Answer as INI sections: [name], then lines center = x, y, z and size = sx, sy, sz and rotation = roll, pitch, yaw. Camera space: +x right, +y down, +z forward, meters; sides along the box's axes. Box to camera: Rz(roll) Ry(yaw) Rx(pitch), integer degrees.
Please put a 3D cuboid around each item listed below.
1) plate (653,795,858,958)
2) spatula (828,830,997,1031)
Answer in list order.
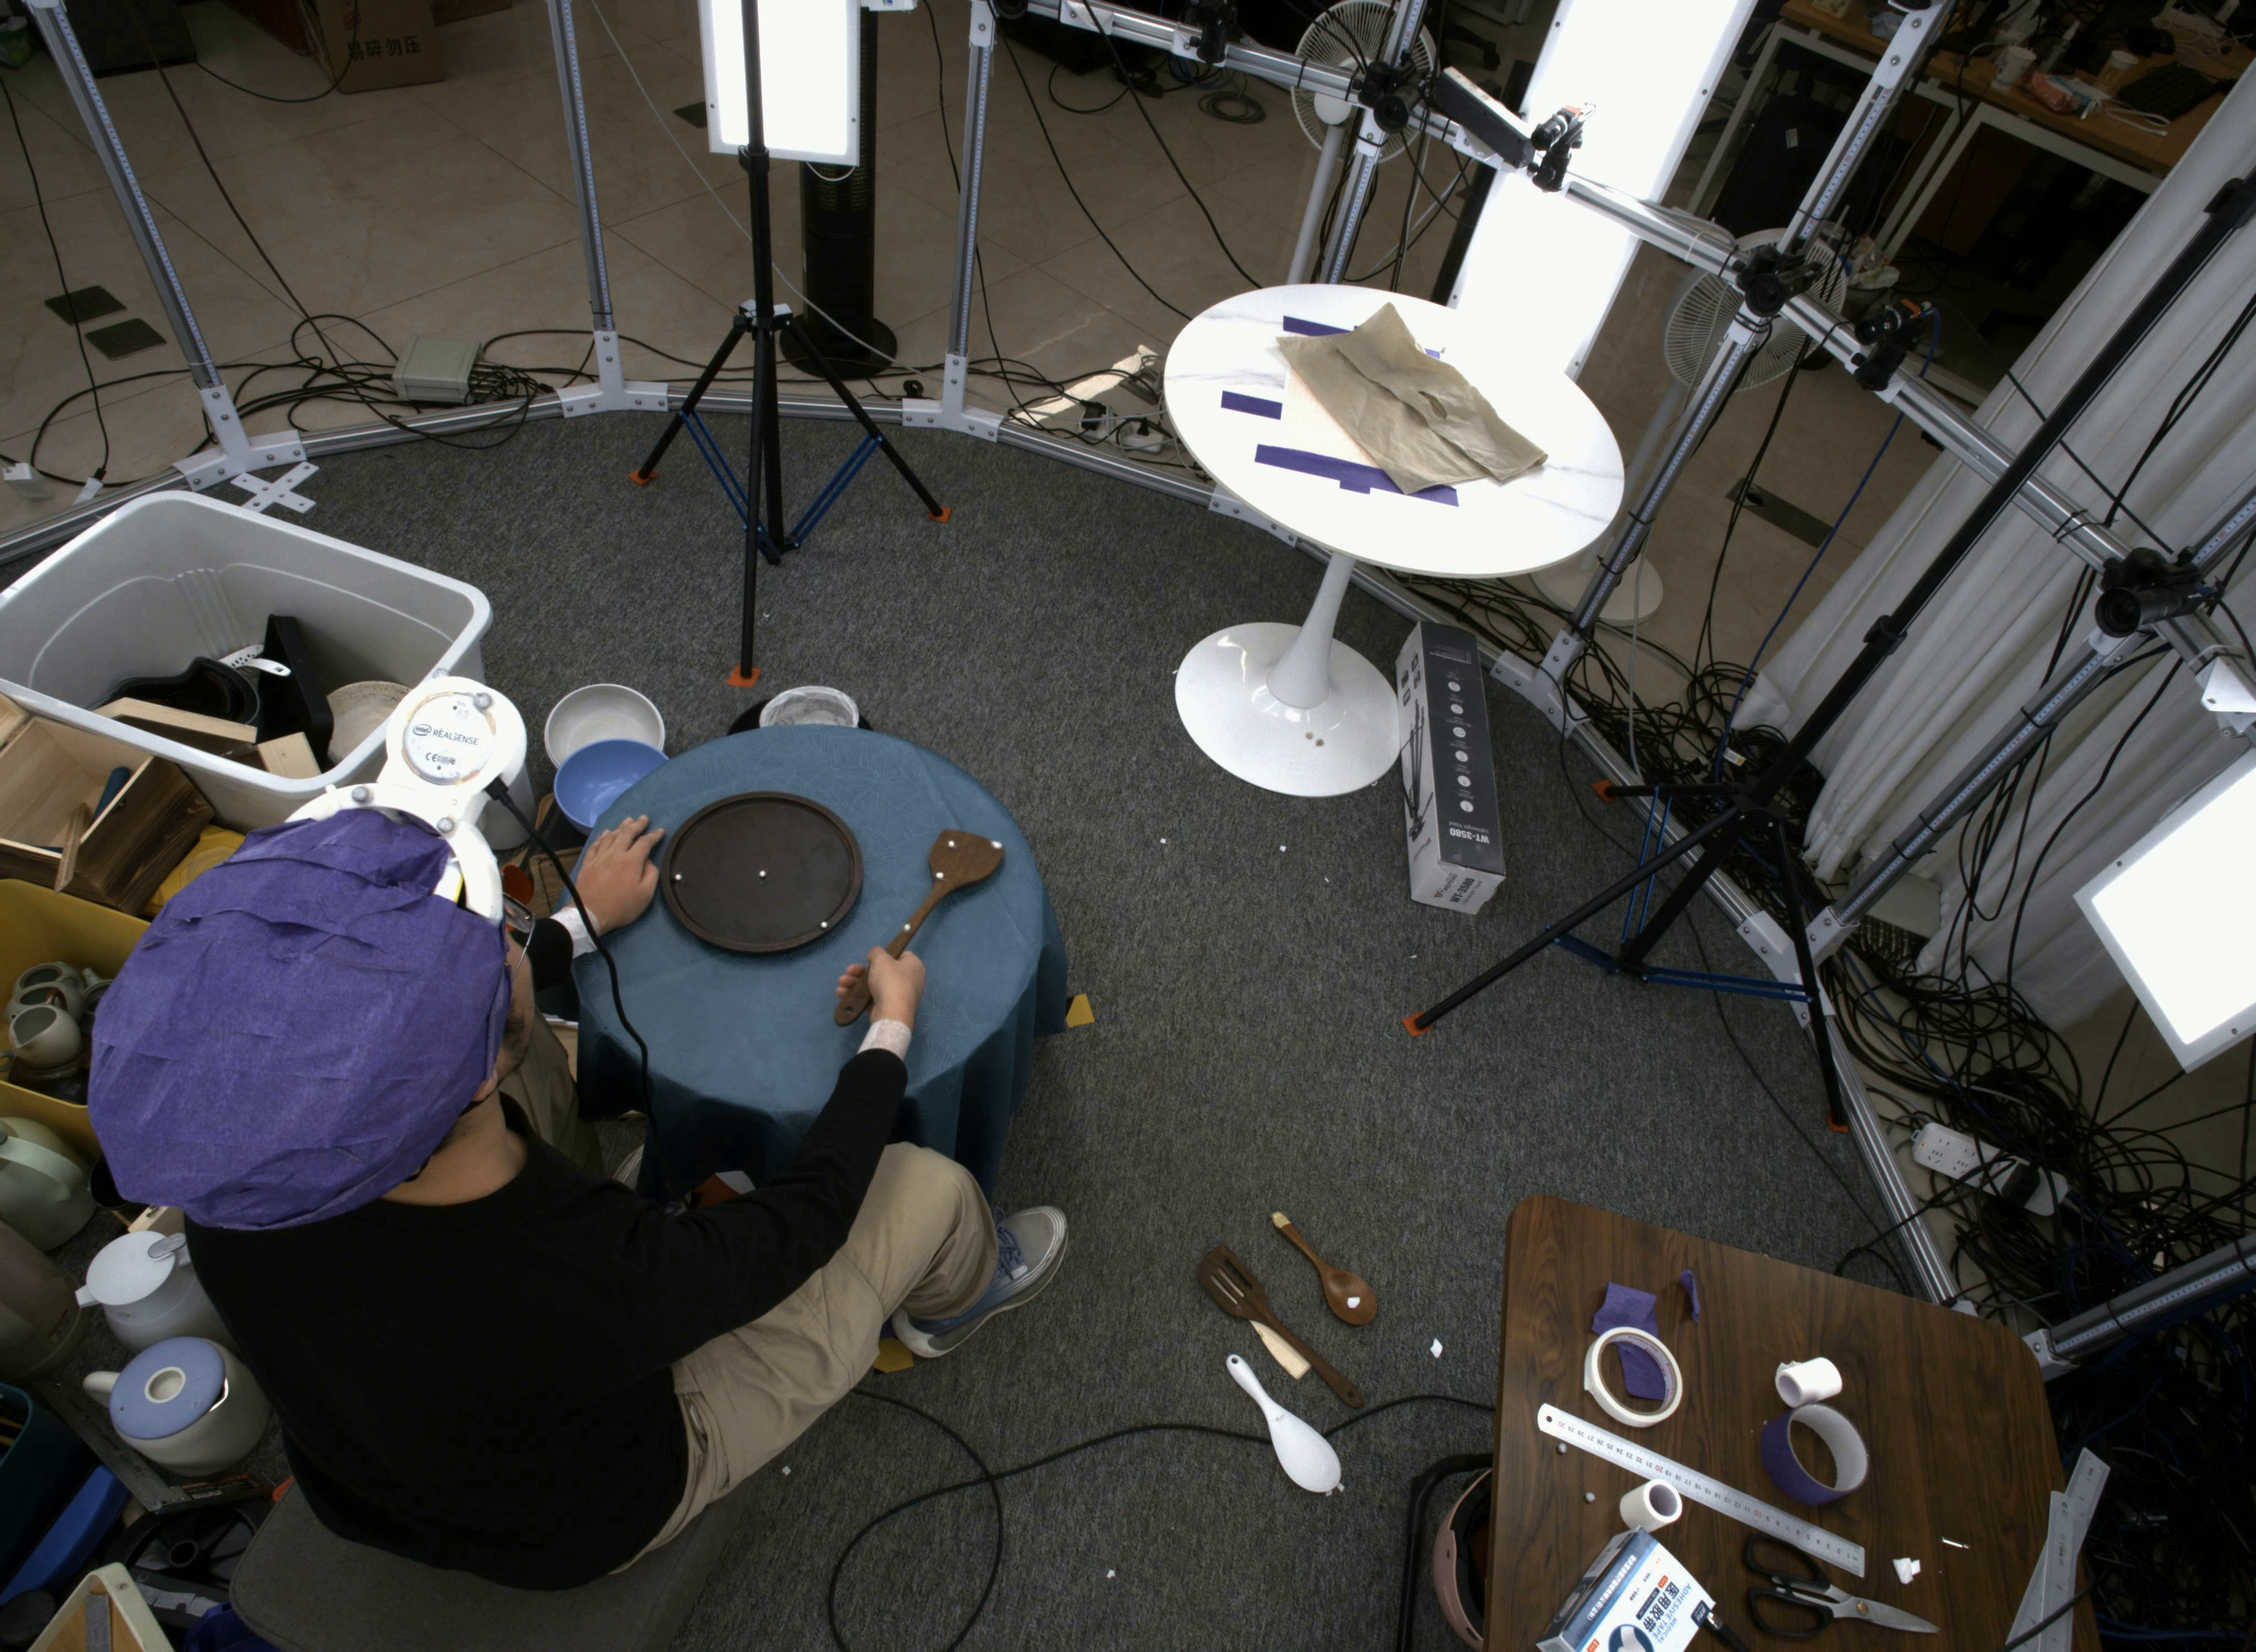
[plate]
center = -0.473, 0.060, 1.647
size = 0.254, 0.029, 0.250
rotation = 9, 52, -10
[spatula]
center = -0.273, 0.120, 1.616
size = 0.094, 0.016, 0.382
rotation = 21, 38, 7
